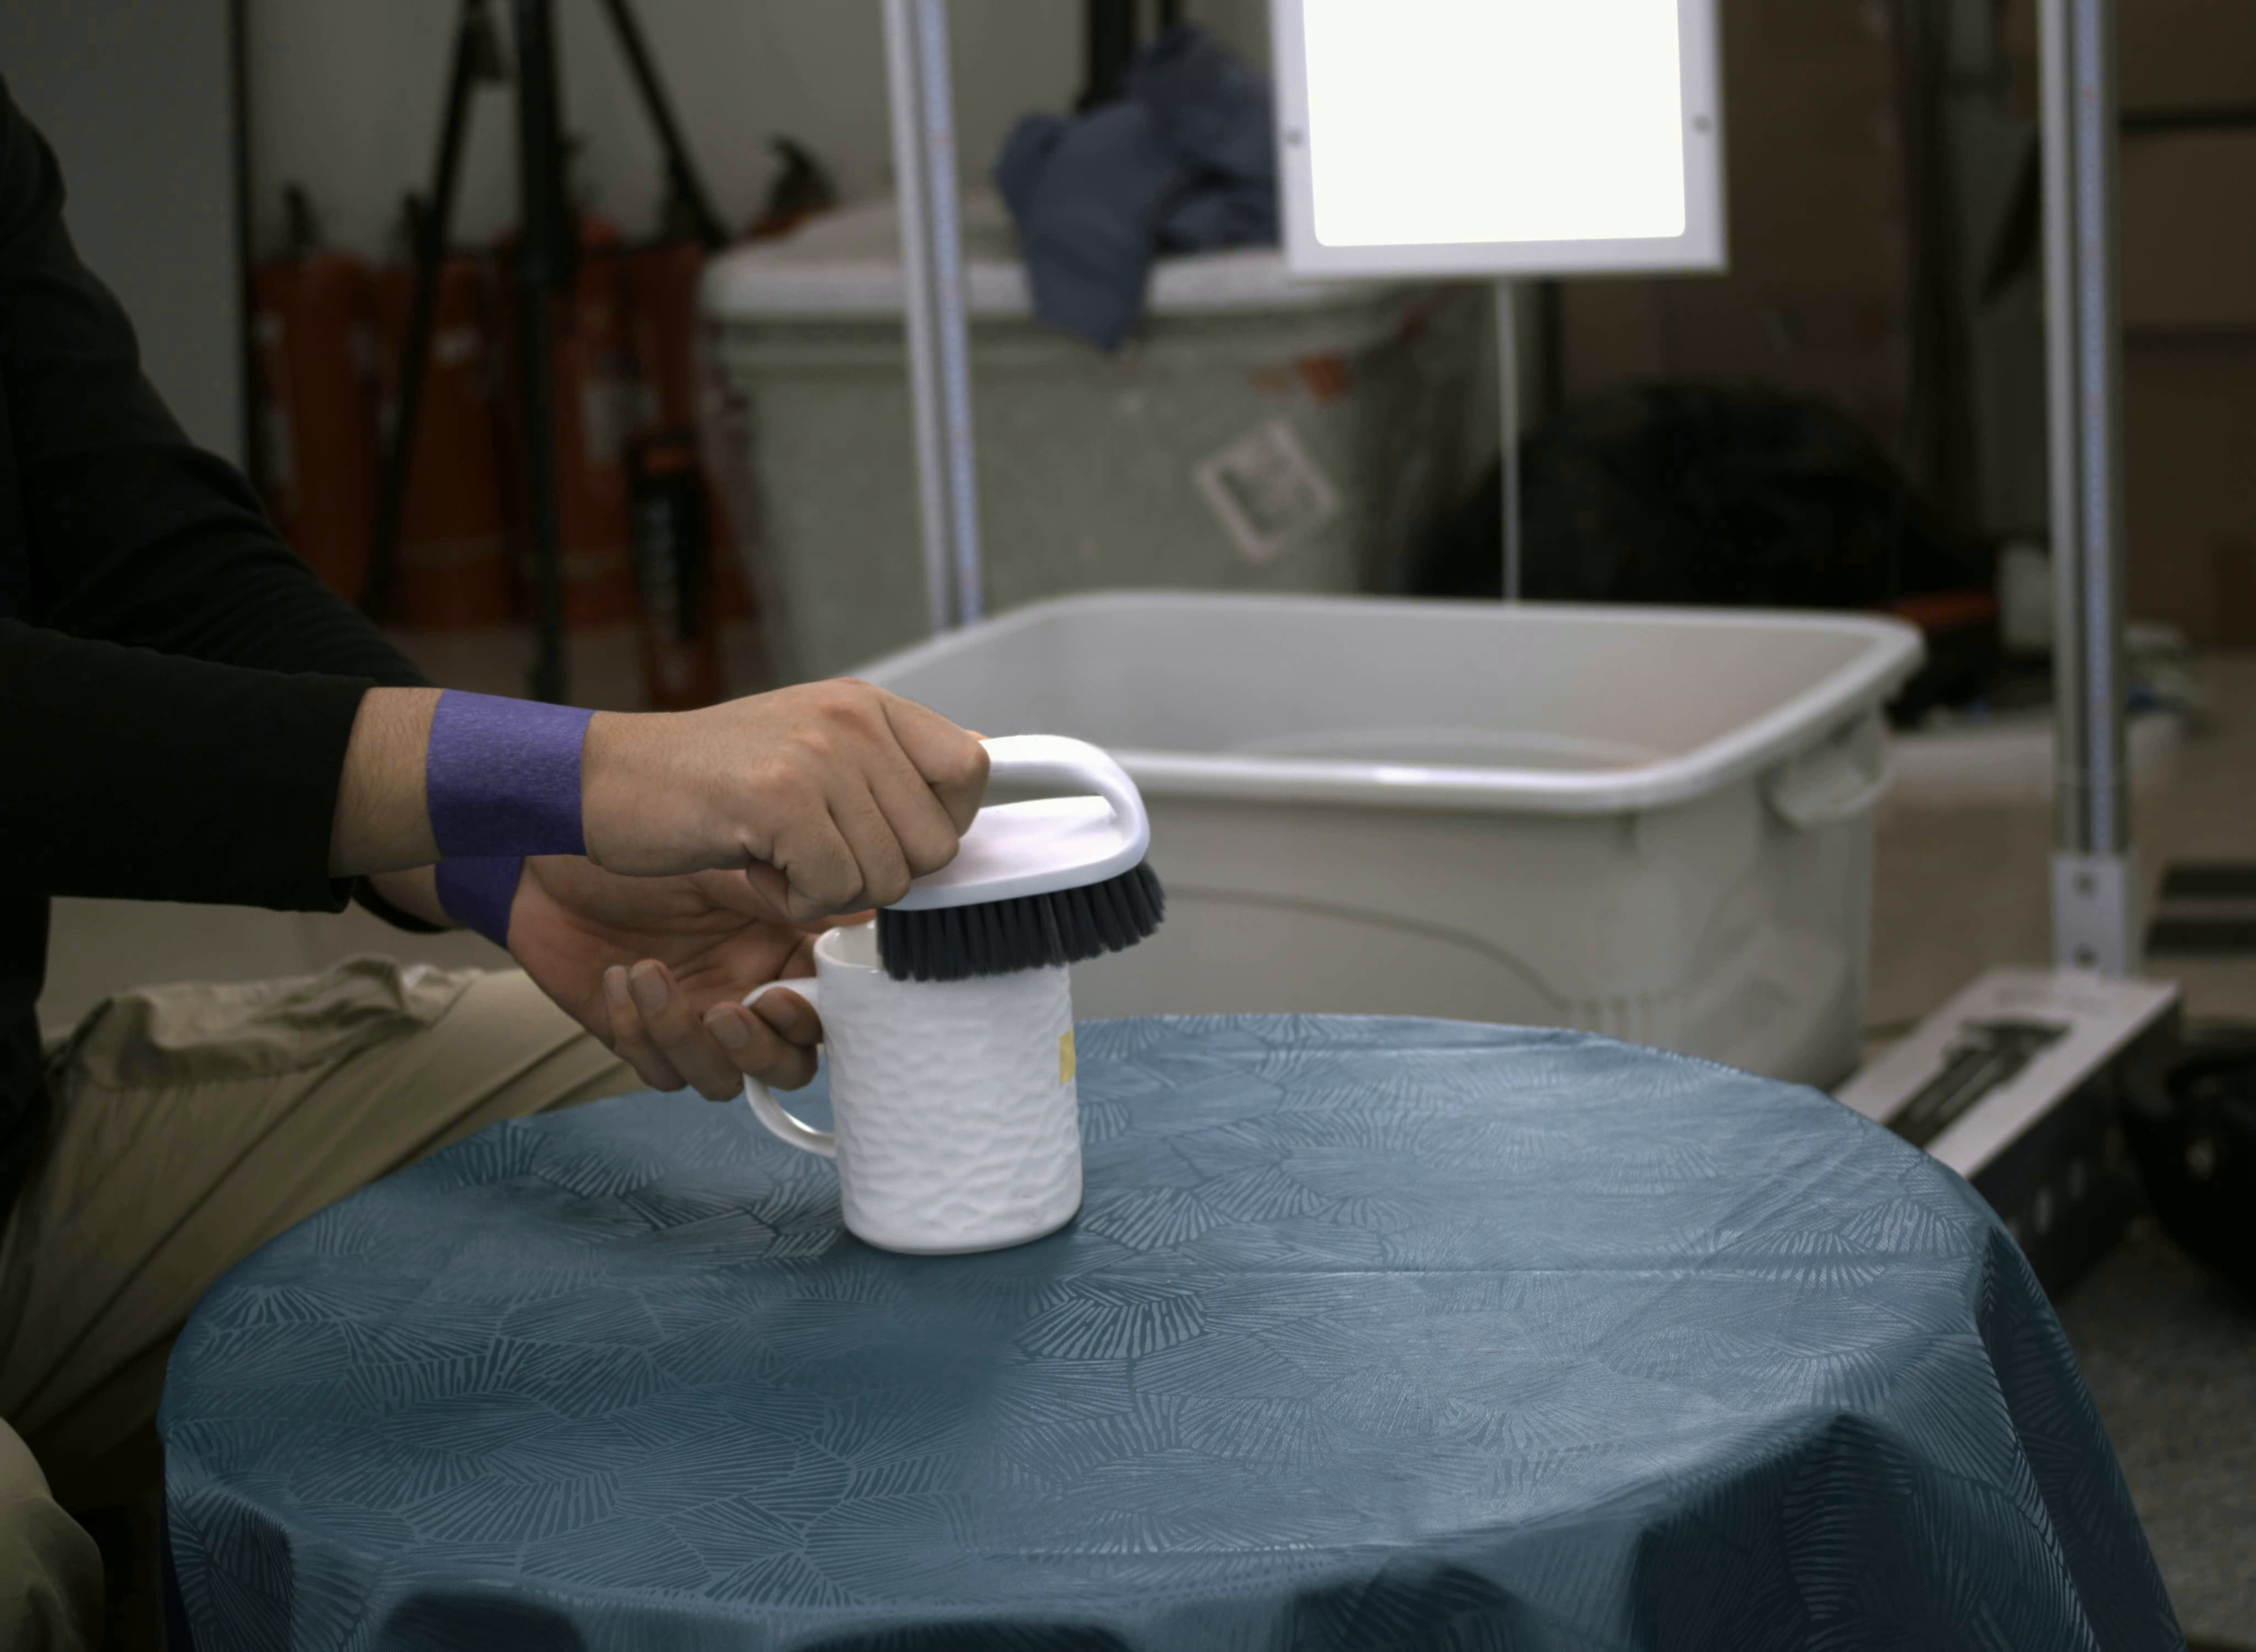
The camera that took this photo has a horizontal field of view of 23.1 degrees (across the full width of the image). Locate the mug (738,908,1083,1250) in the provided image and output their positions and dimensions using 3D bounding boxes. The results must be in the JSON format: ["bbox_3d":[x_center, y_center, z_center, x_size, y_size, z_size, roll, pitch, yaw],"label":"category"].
[{"bbox_3d":[-0.075,0.083,1.875,0.119,0.102,0.083,1,16,17],"label":"mug"}]

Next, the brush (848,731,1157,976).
[{"bbox_3d":[-0.044,0.004,1.805,0.099,0.072,0.050,-6,31,7],"label":"brush"}]
